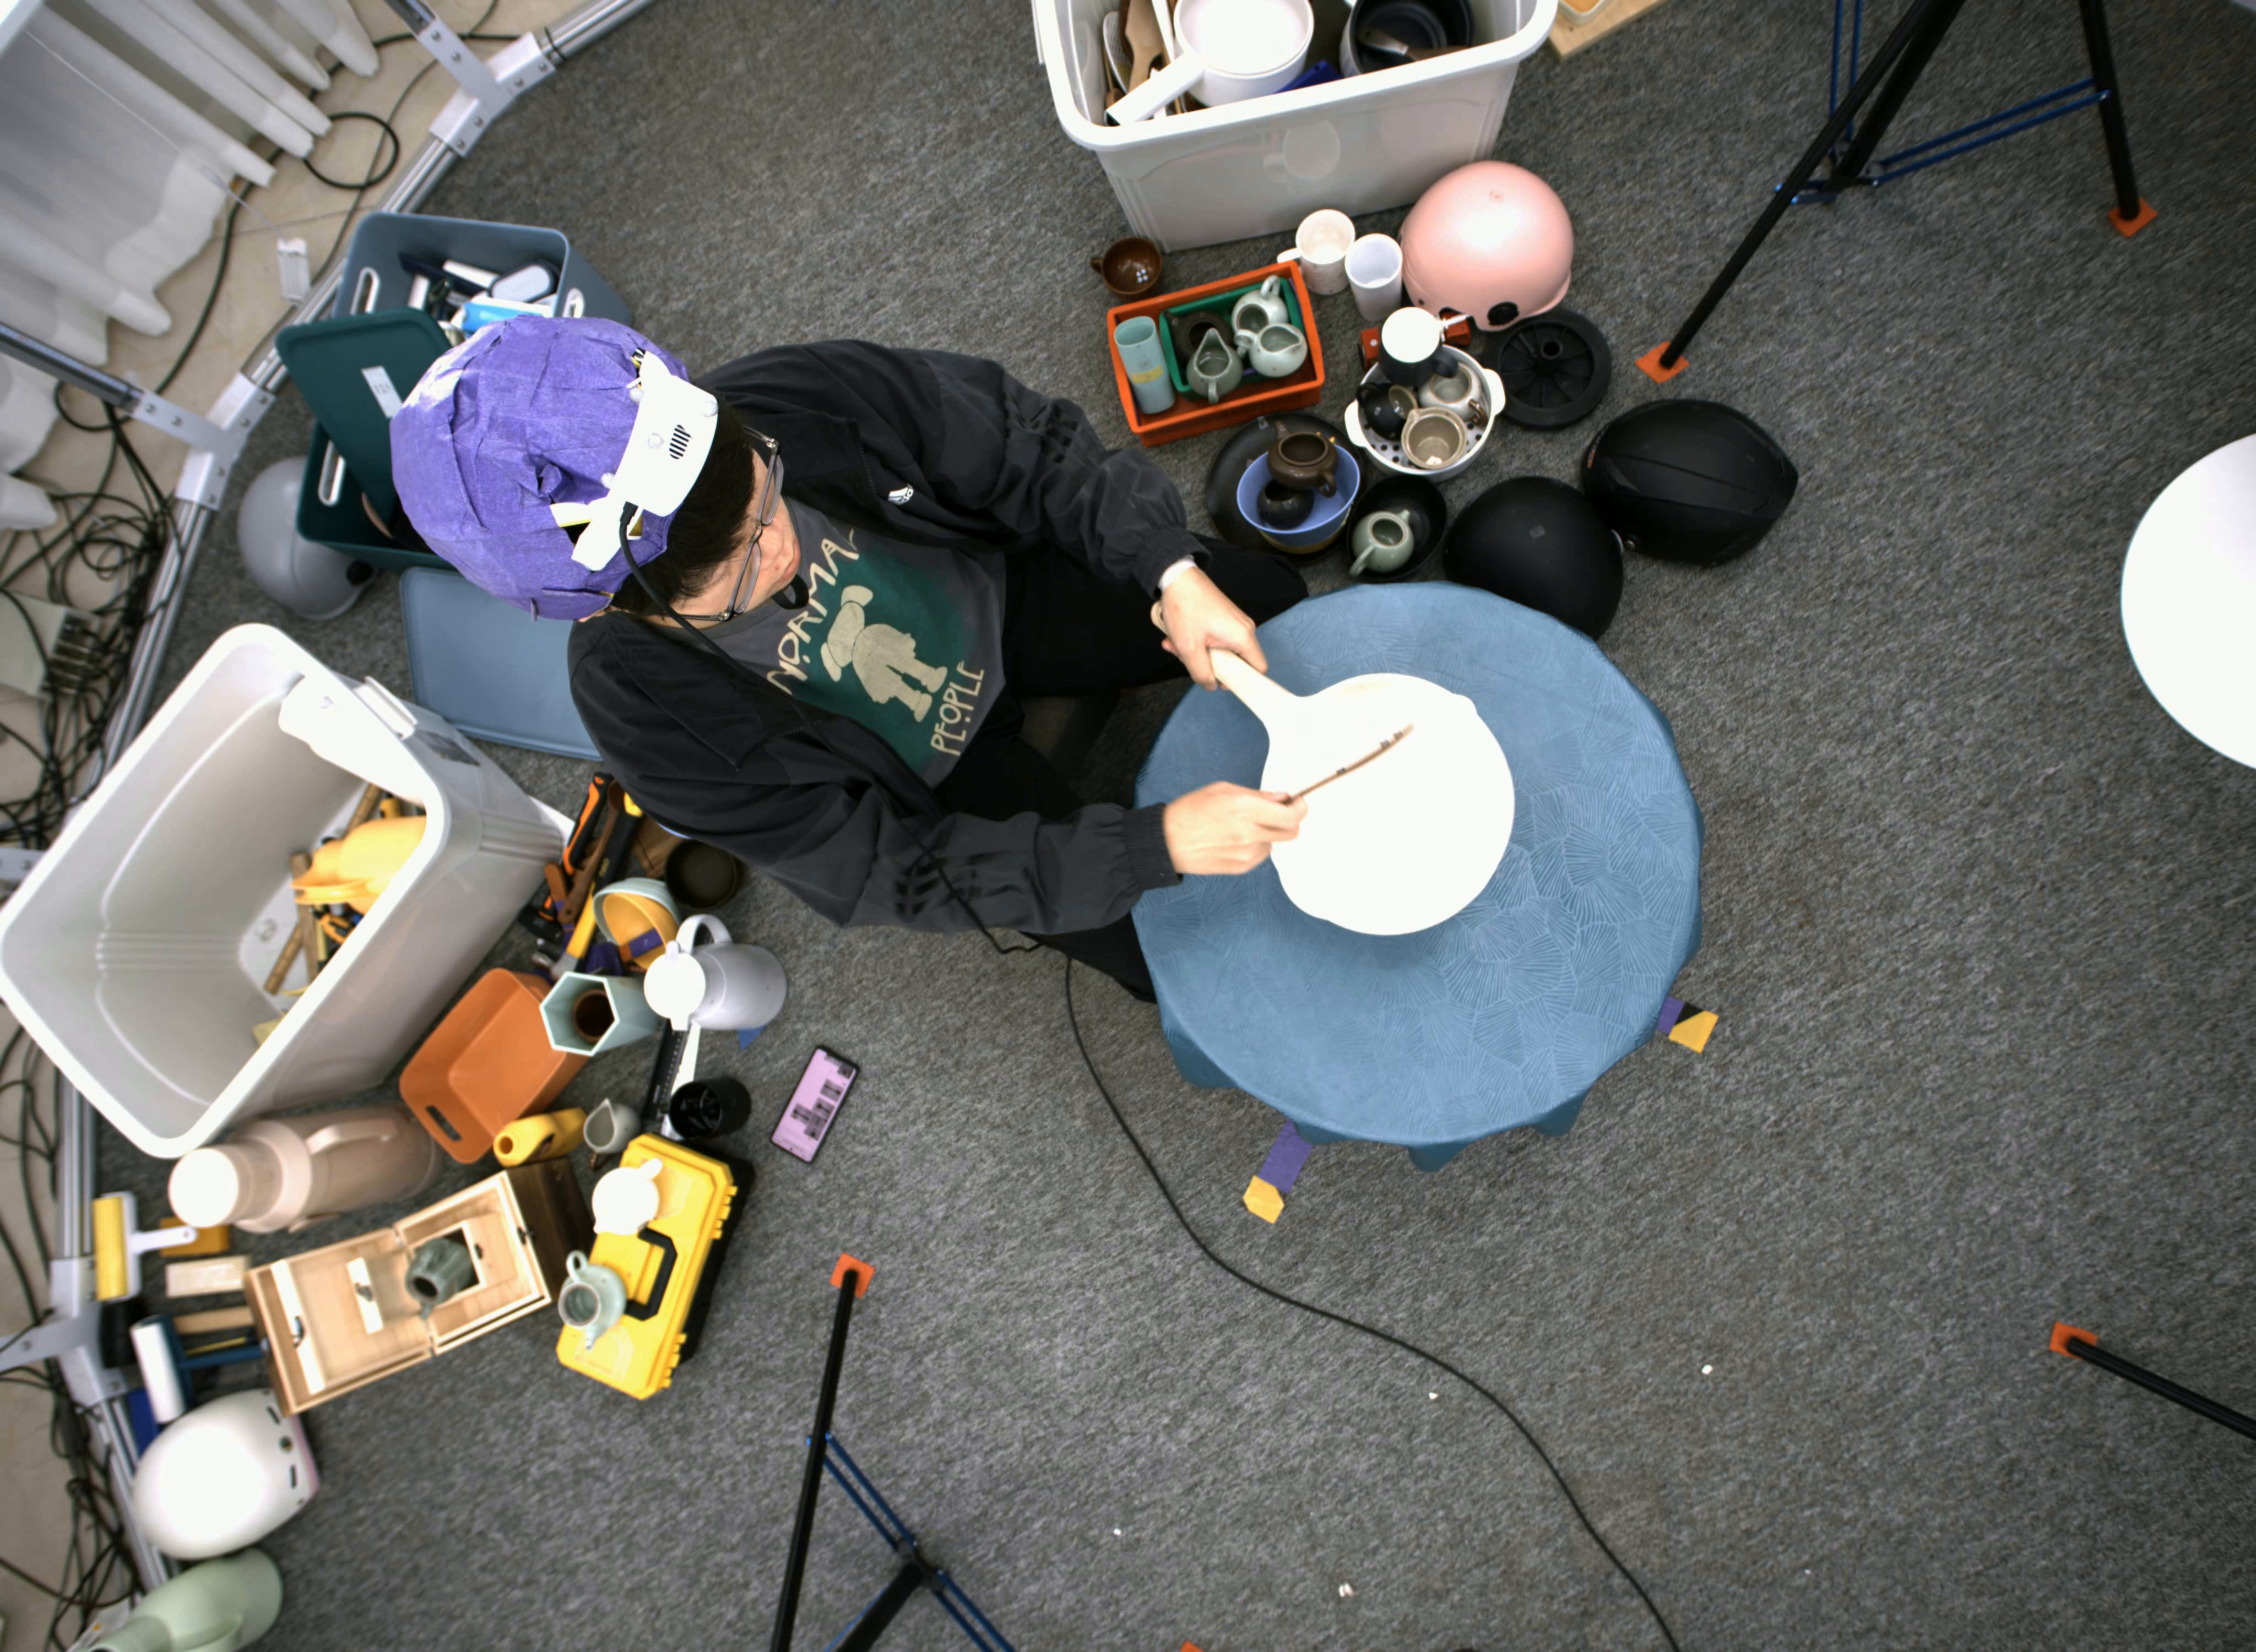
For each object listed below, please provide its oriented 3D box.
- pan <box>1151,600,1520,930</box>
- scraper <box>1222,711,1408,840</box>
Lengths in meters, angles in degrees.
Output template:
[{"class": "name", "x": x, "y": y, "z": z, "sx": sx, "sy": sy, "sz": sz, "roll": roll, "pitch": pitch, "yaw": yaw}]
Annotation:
[{"class": "pan", "x": 0.199, "y": -0.088, "z": 1.377, "sx": 0.431, "sy": 0.101, "sz": 0.268, "roll": 44, "pitch": 115, "yaw": 18}, {"class": "scraper", "x": 0.179, "y": -0.046, "z": 1.316, "sx": 0.212, "sy": 0.076, "sz": 0.011, "roll": -33, "pitch": 80, "yaw": 3}]
